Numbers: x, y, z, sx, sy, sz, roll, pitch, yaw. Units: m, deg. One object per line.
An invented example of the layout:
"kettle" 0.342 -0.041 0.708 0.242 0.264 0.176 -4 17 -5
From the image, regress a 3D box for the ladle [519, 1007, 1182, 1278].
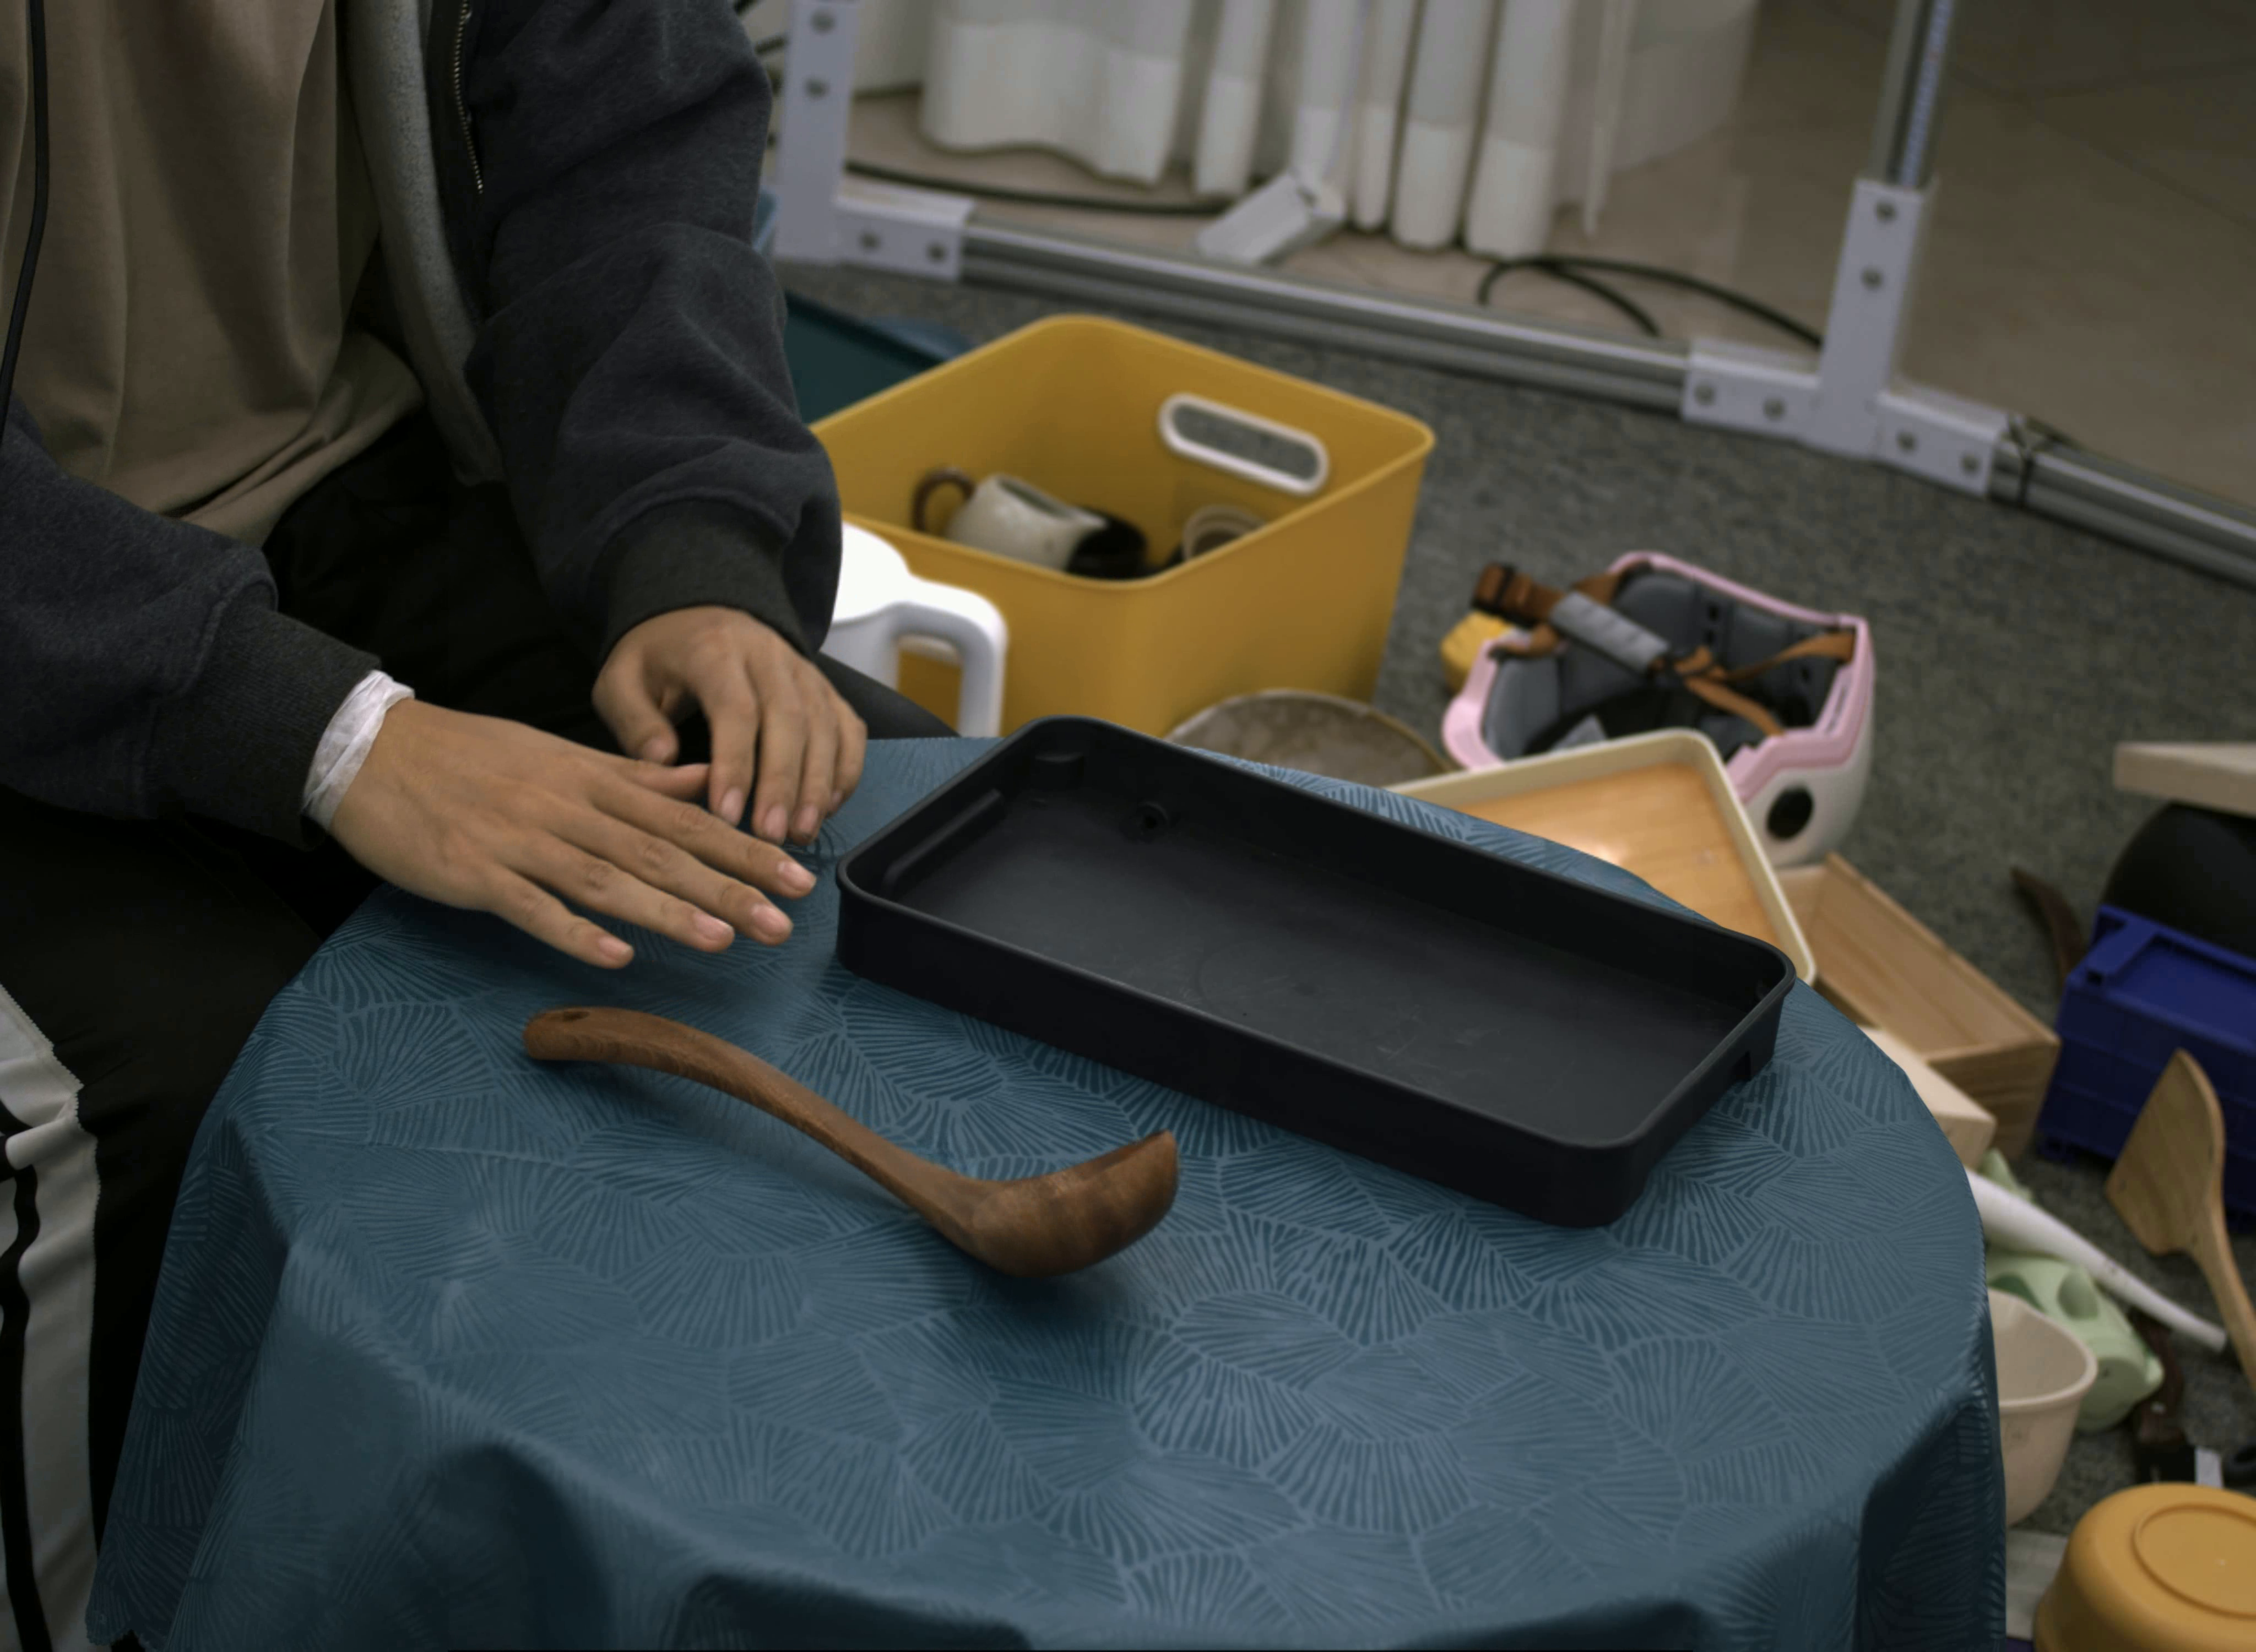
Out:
"ladle" -0.097 0.090 1.776 0.261 0.065 0.076 22 25 28

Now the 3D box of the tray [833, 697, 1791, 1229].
"tray" 0.065 0.045 1.925 0.319 0.037 0.184 20 30 22
